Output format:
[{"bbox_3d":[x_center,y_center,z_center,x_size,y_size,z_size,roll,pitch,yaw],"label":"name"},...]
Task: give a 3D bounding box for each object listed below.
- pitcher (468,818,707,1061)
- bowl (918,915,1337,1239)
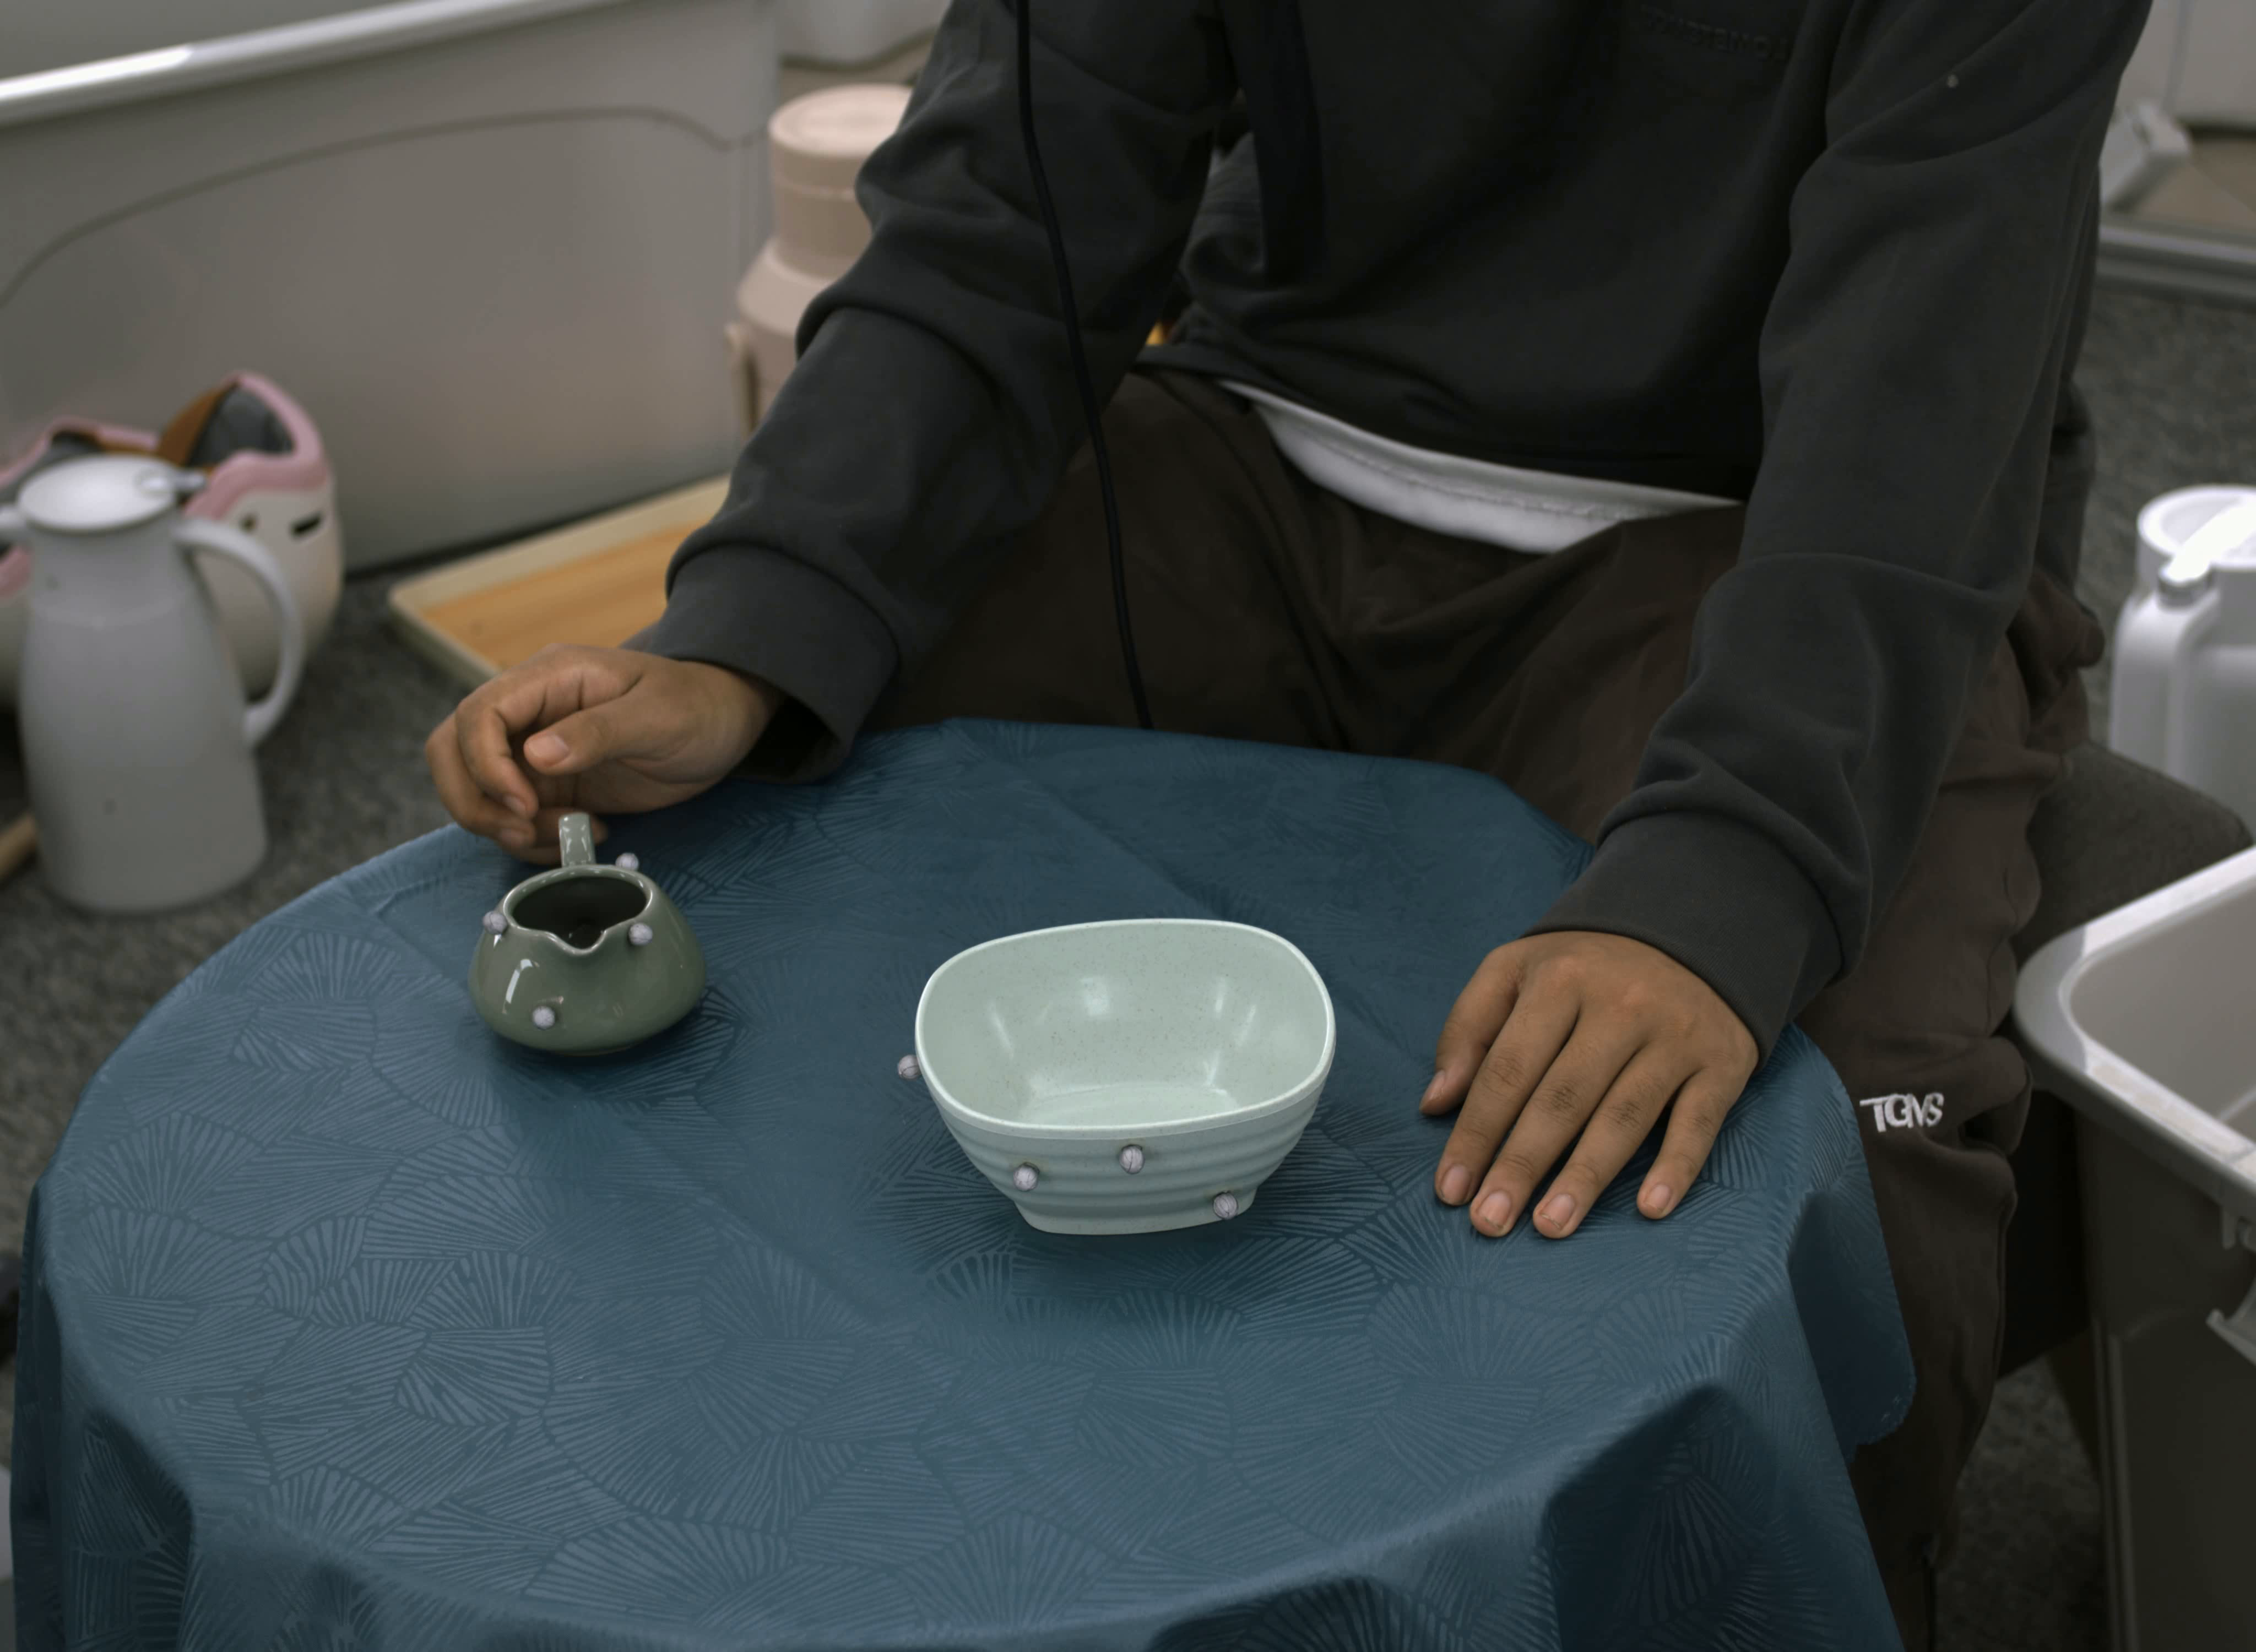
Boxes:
[{"bbox_3d":[-0.191,0.042,1.977,0.084,0.055,0.114,-6,26,-7],"label":"pitcher"},{"bbox_3d":[0.001,0.090,1.867,0.151,0.058,0.154,-2,29,2],"label":"bowl"}]
